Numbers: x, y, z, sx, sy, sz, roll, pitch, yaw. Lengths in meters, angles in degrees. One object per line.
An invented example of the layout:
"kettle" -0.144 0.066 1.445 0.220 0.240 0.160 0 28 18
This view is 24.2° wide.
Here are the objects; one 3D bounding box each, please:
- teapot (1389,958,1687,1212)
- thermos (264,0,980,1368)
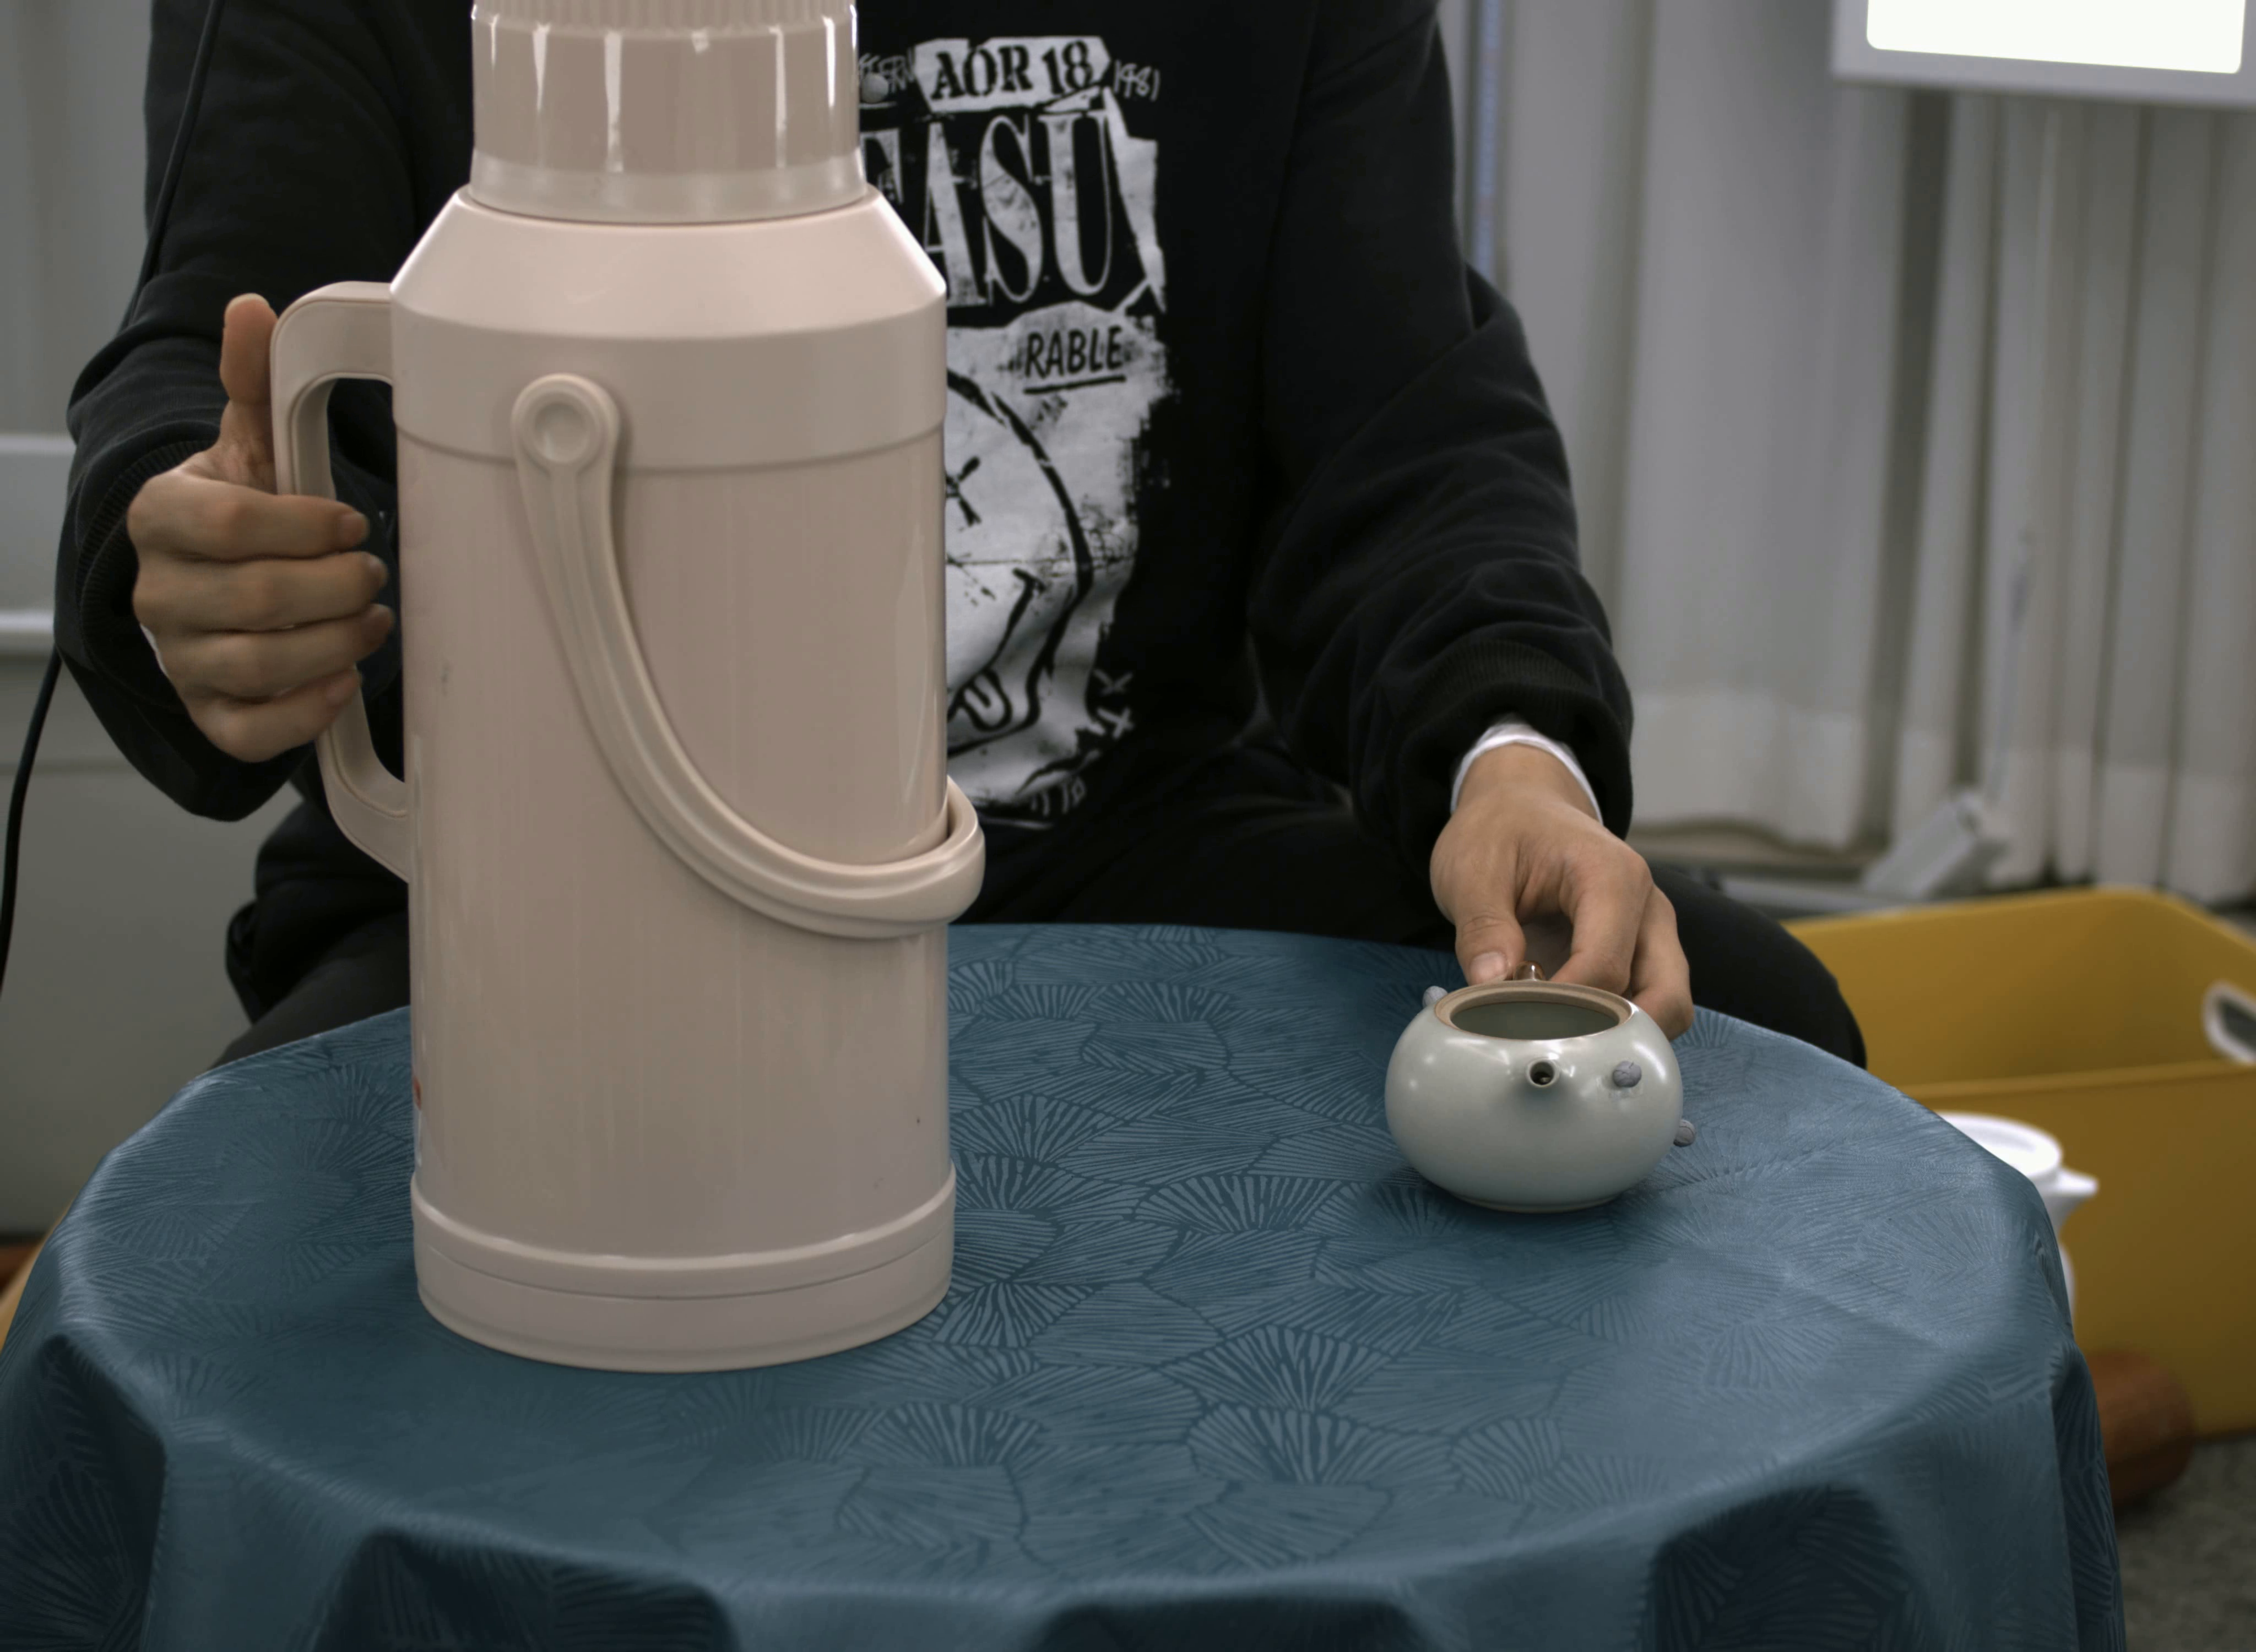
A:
"teapot" 0.126 0.080 1.632 0.091 0.060 0.127 -3 16 0
"thermos" -0.143 -0.060 1.496 0.205 0.410 0.175 5 18 12
